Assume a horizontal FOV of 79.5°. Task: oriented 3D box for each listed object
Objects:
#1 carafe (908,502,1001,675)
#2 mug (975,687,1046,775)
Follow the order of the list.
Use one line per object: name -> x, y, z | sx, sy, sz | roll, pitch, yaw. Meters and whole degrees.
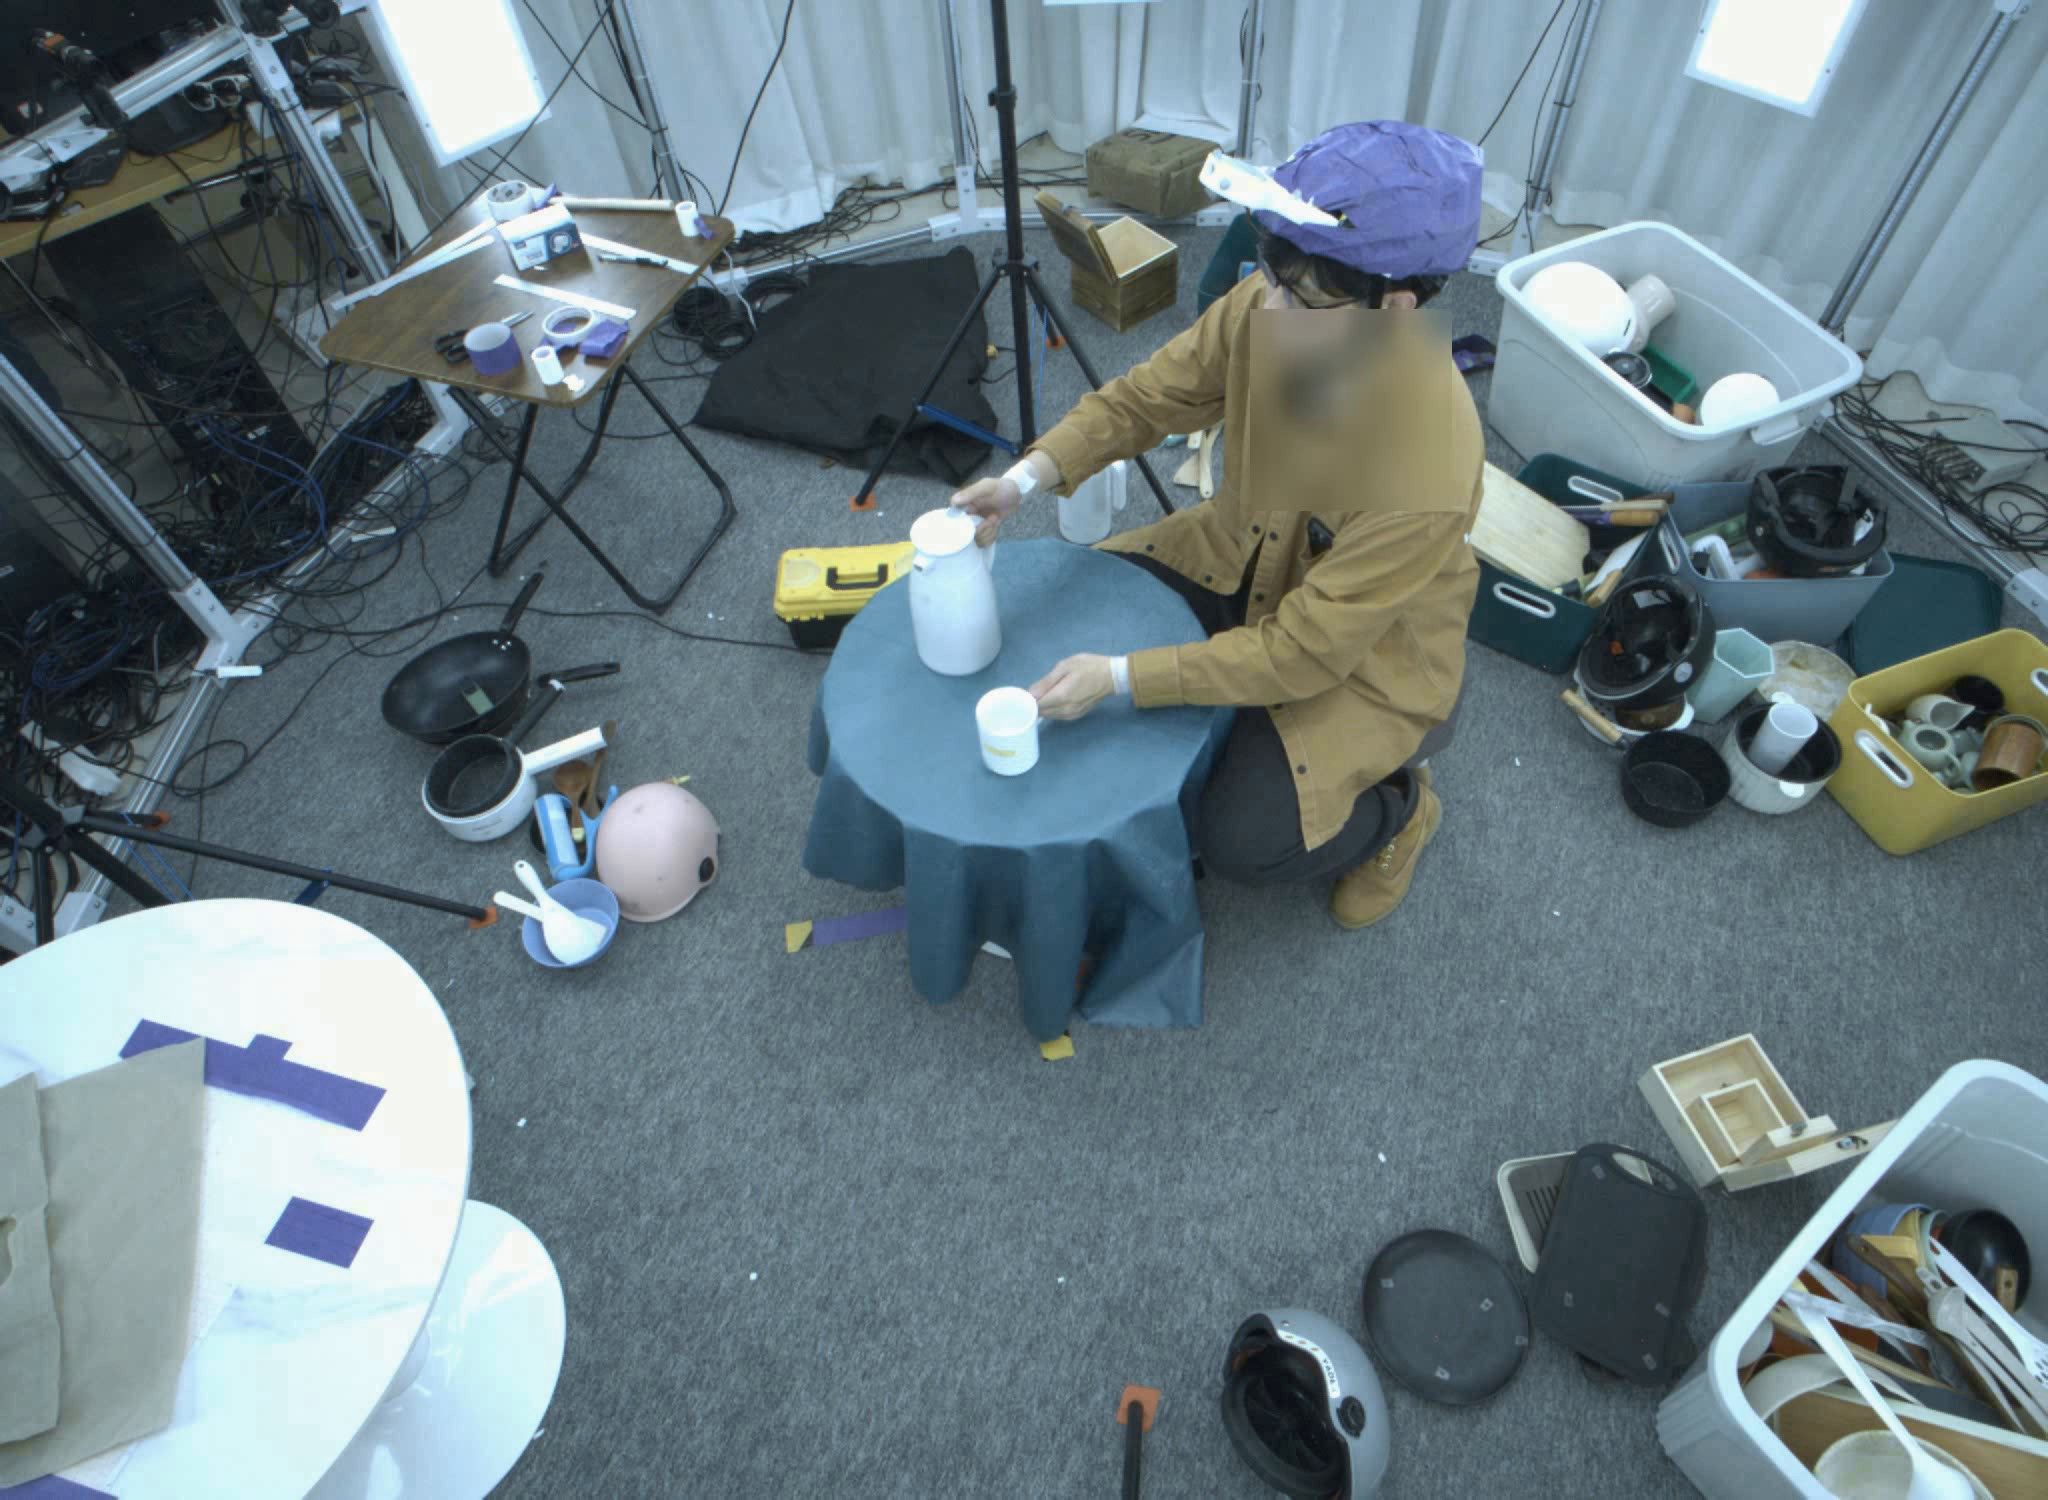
carafe -> -0.100, -0.252, 1.813 | 0.130, 0.251, 0.168 | 25, 59, 21
mug -> -0.012, -0.035, 1.745 | 0.083, 0.103, 0.119 | 33, 63, 24
